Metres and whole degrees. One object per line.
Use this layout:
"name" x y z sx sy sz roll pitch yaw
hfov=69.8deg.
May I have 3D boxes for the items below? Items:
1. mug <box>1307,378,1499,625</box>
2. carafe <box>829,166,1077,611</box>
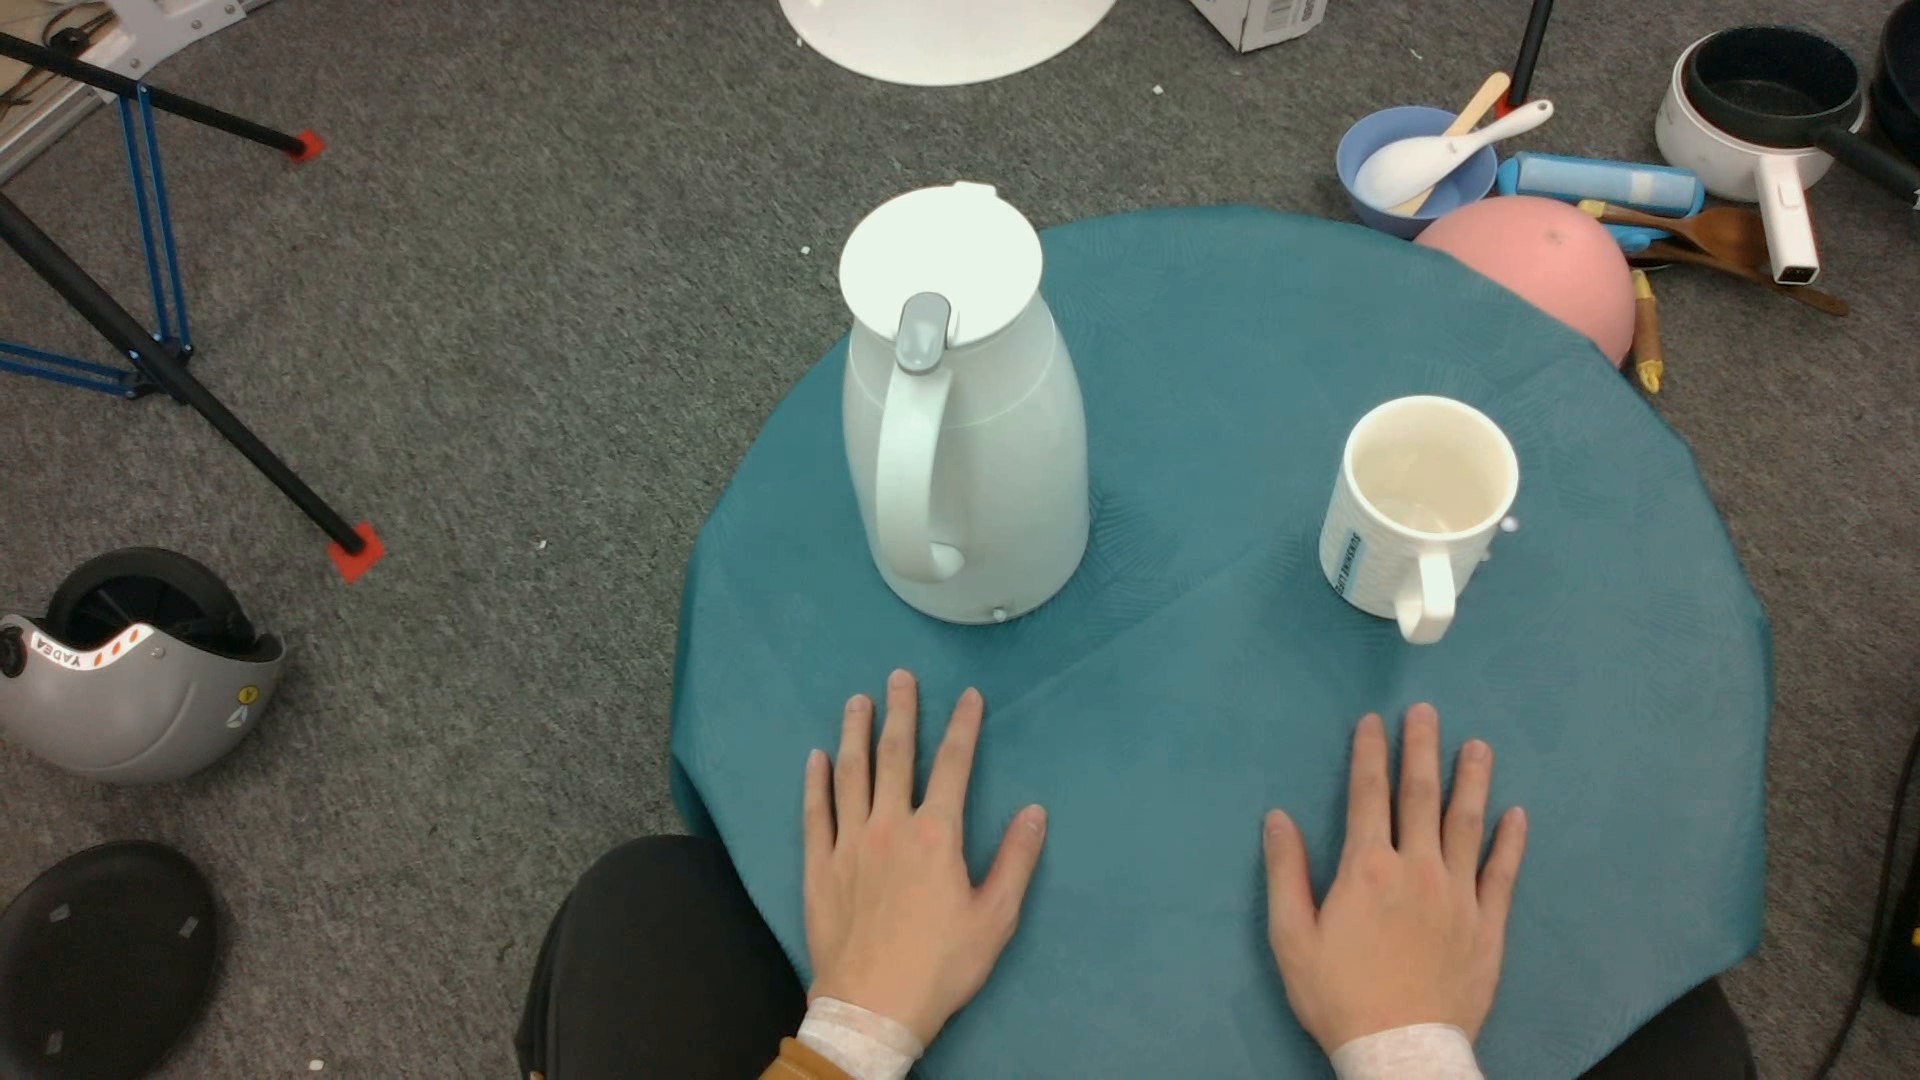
"mug" 0.237 -0.010 0.742 0.085 0.101 0.119 -3 62 4
"carafe" -0.008 -0.058 0.705 0.132 0.247 0.168 8 63 9
